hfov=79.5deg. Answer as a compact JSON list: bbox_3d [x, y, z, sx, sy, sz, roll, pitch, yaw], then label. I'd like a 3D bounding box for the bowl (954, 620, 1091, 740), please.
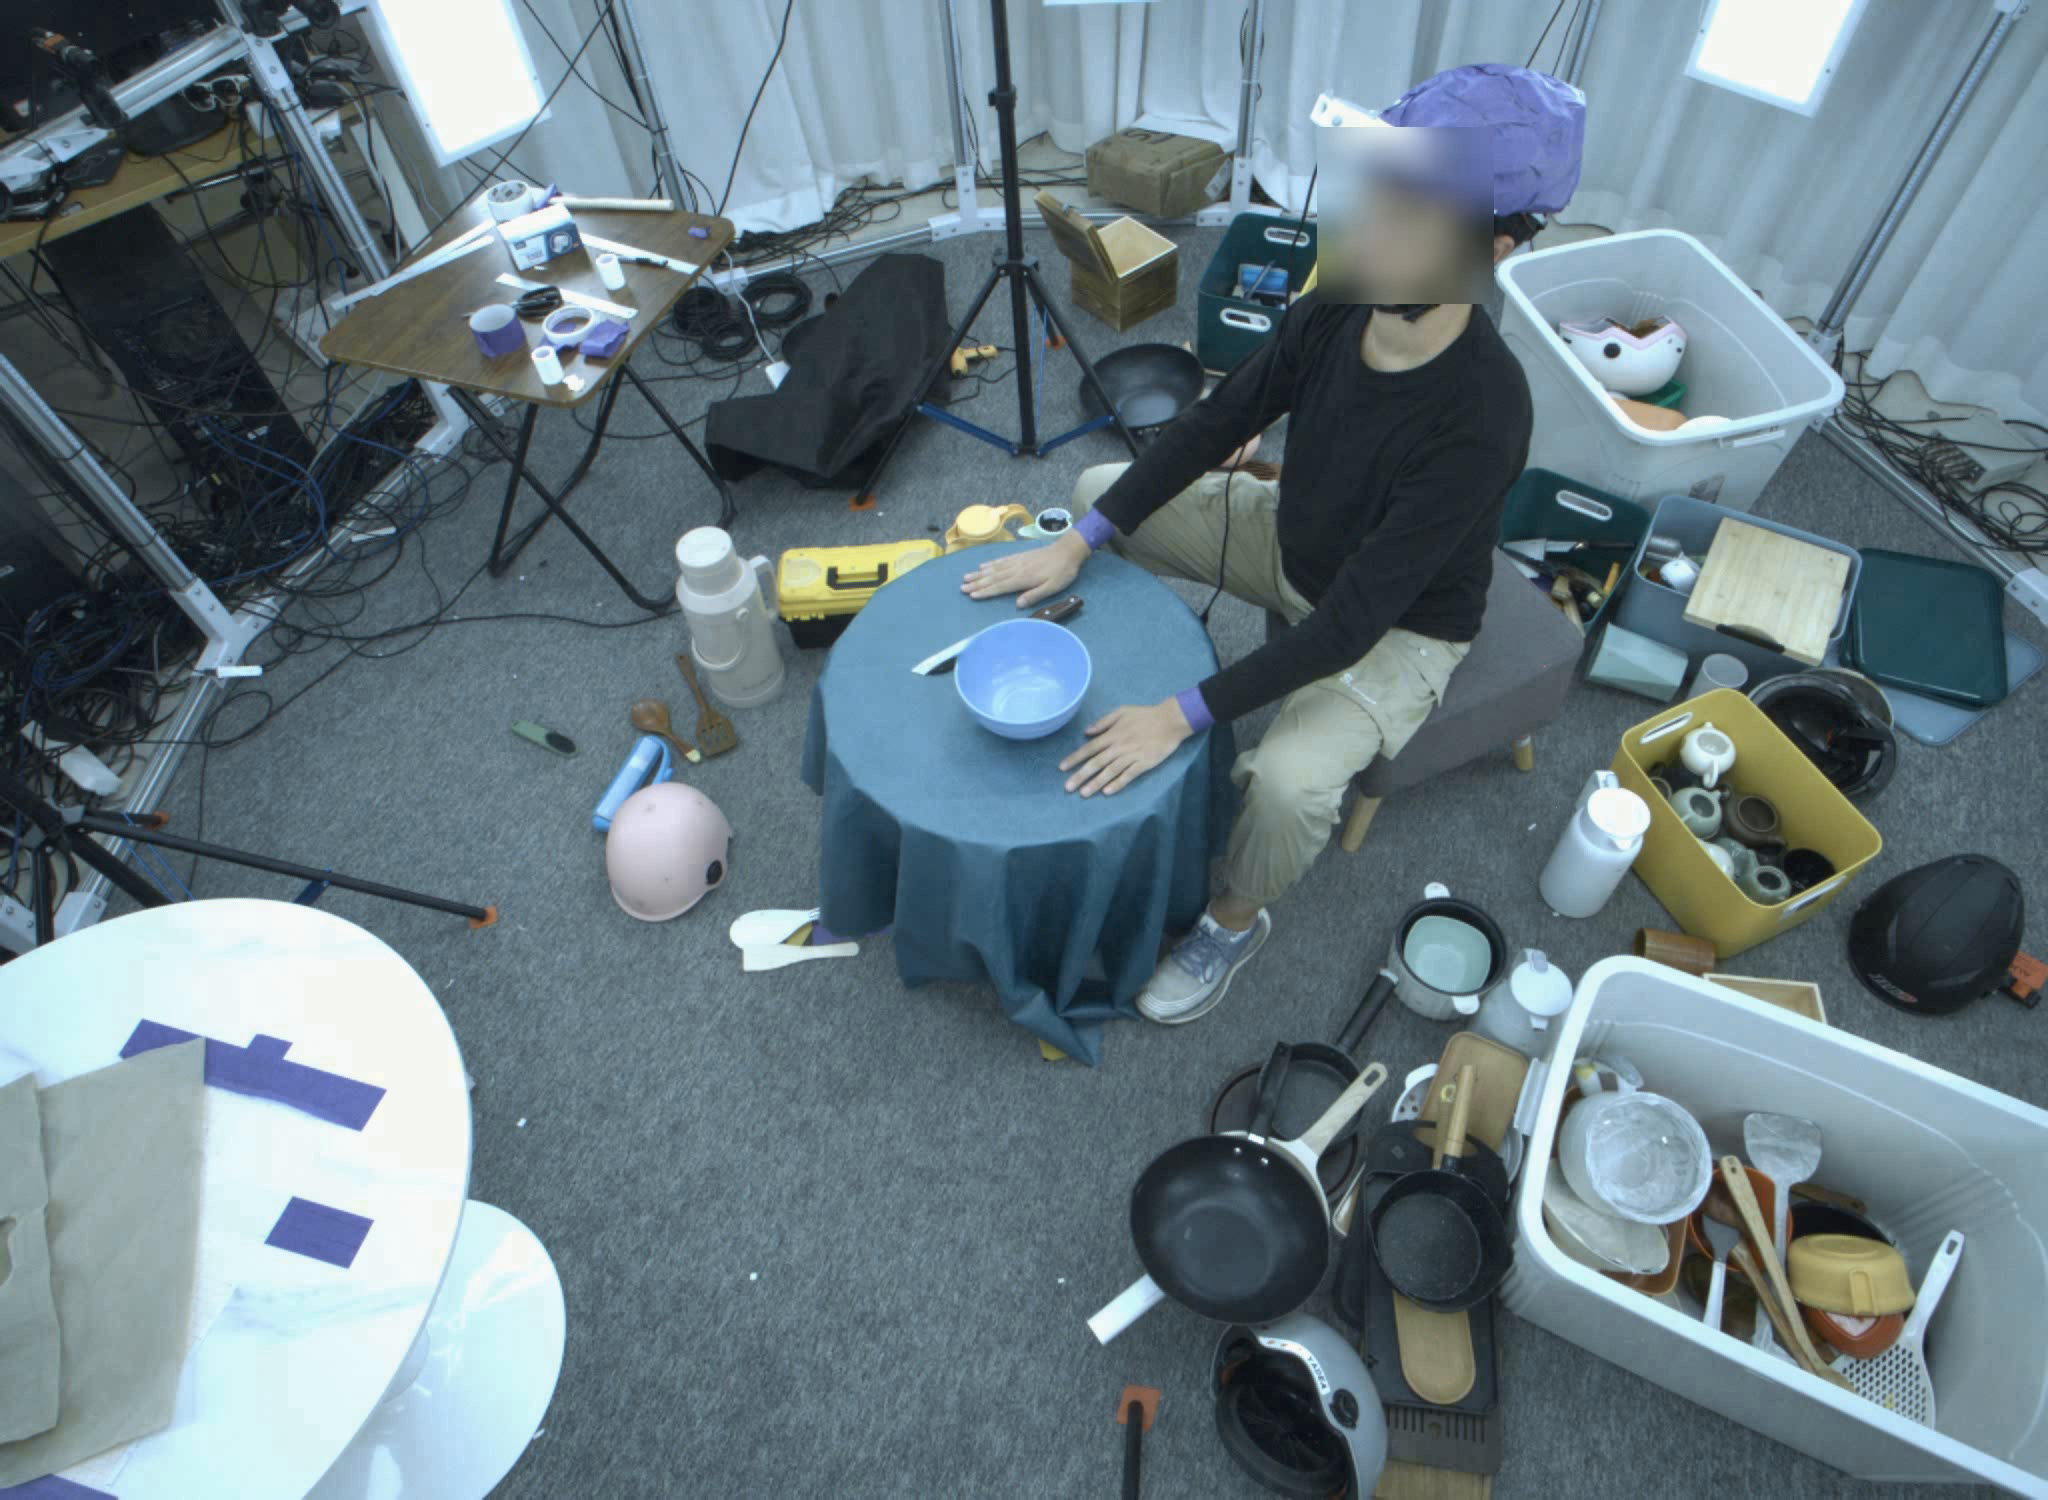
[{"bbox_3d":[-0.001,-0.087,1.790,0.196,0.096,0.194,0,53,1],"label":"bowl"}]

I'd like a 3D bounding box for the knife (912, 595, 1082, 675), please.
[{"bbox_3d":[-0.042,-0.176,1.902,0.291,0.020,0.049,-24,52,-12],"label":"knife"}]
